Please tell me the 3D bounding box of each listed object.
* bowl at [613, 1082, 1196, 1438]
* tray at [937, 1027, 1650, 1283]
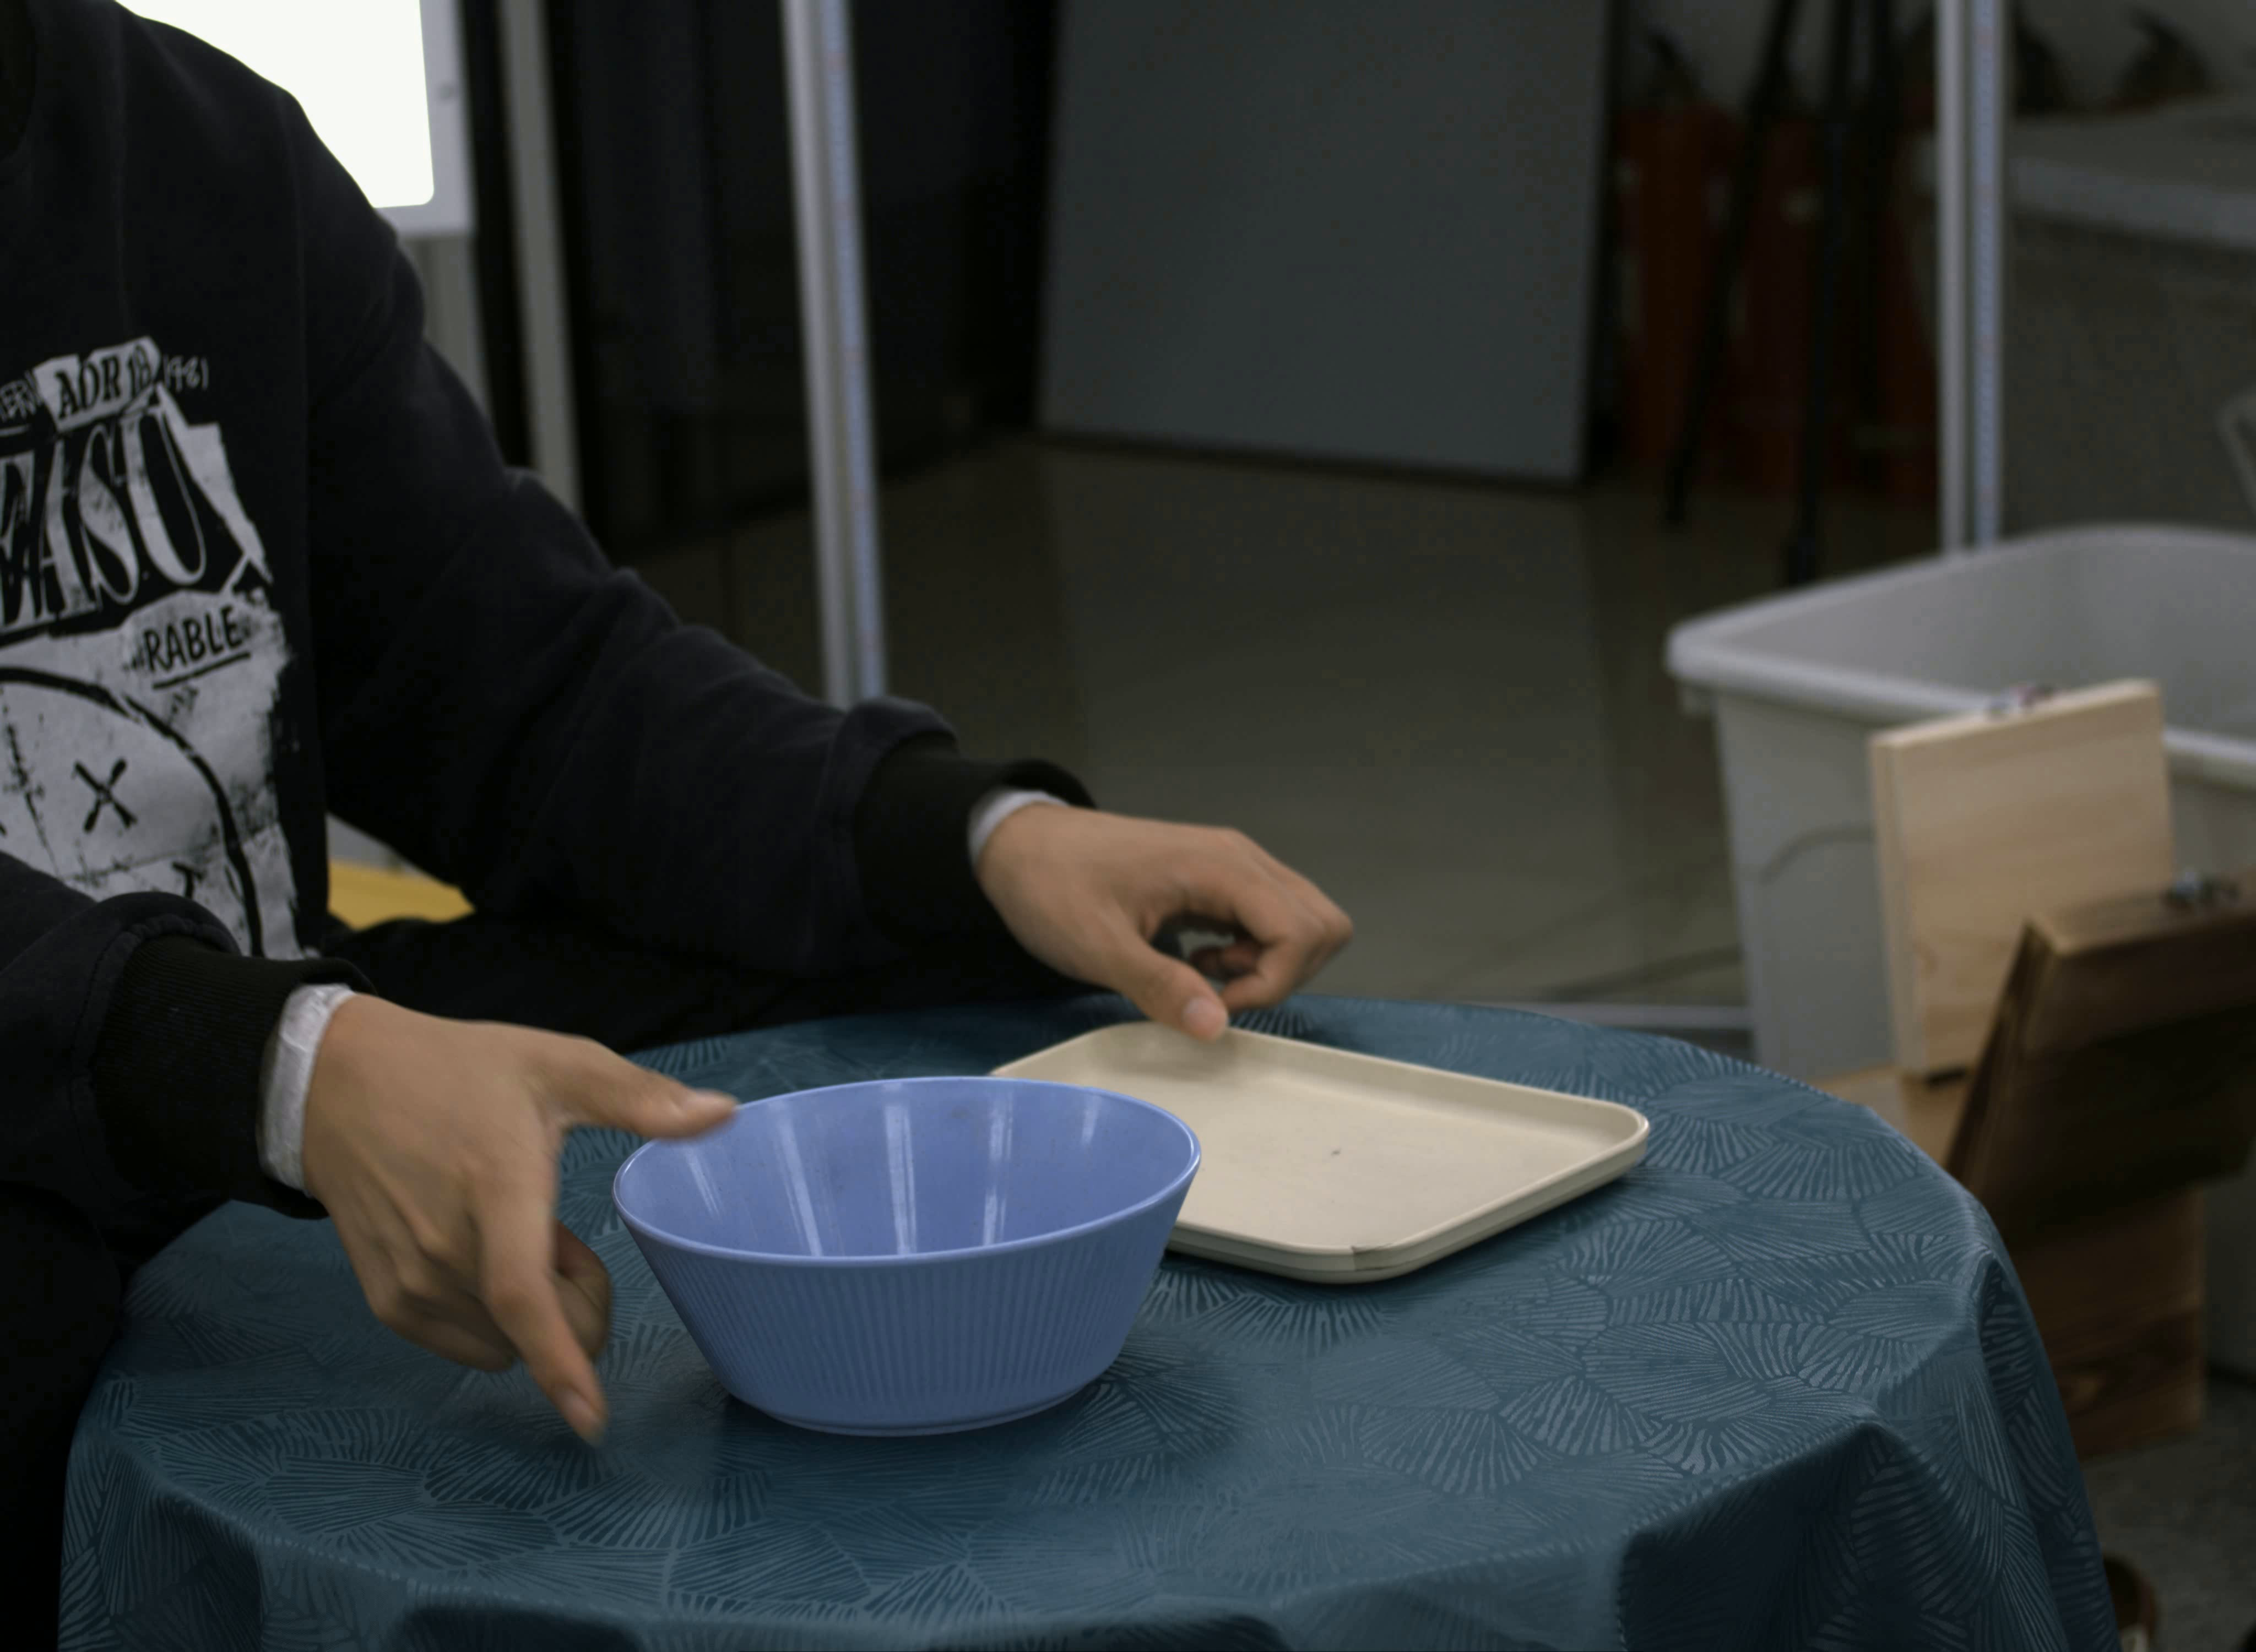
[{"bbox_3d":[-0.064,0.131,1.602,0.174,0.071,0.176,-4,13,0],"label":"bowl"},{"bbox_3d":[0.040,0.108,1.778,0.242,0.017,0.168,9,18,42],"label":"tray"}]
